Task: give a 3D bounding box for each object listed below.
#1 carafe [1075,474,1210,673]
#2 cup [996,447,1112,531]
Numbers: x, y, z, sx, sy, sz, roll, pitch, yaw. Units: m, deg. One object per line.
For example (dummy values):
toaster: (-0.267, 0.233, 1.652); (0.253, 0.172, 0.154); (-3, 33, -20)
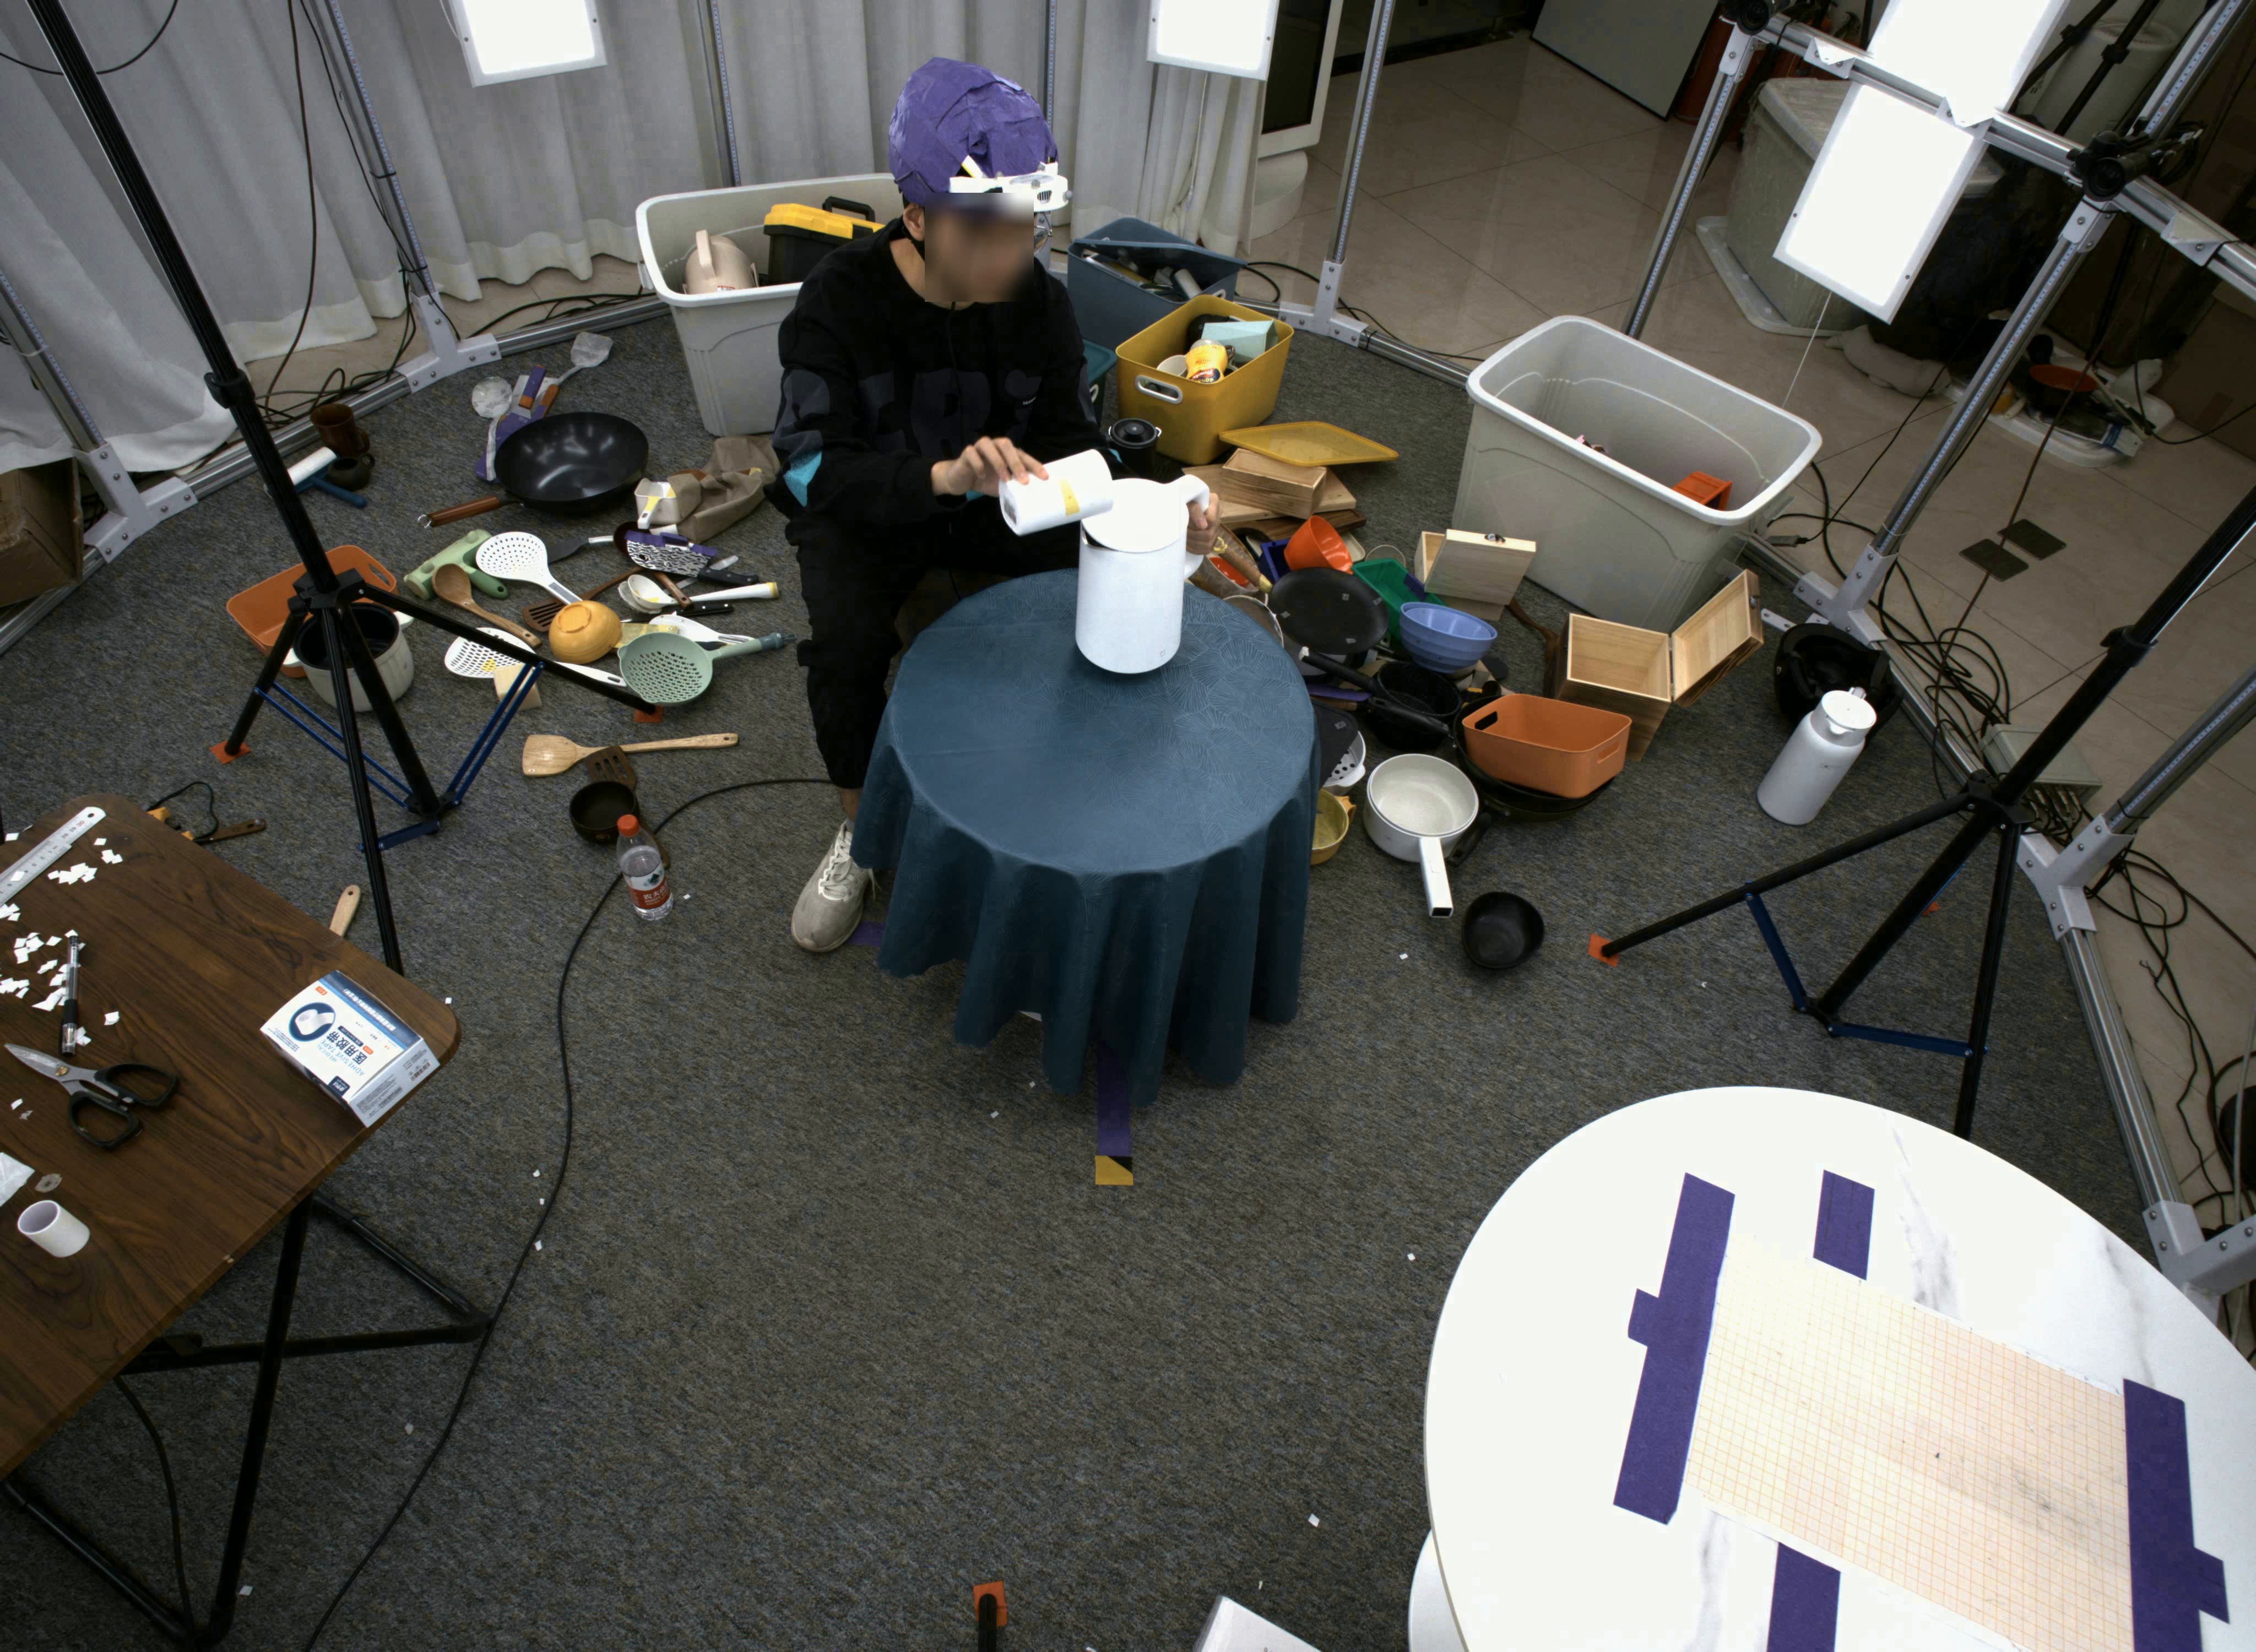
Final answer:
carafe: (0.025, -0.358, 1.790); (0.215, 0.234, 0.154); (-34, 62, -24)
cup: (-0.092, -0.412, 1.592); (0.126, 0.080, 0.083); (-20, 54, -20)
